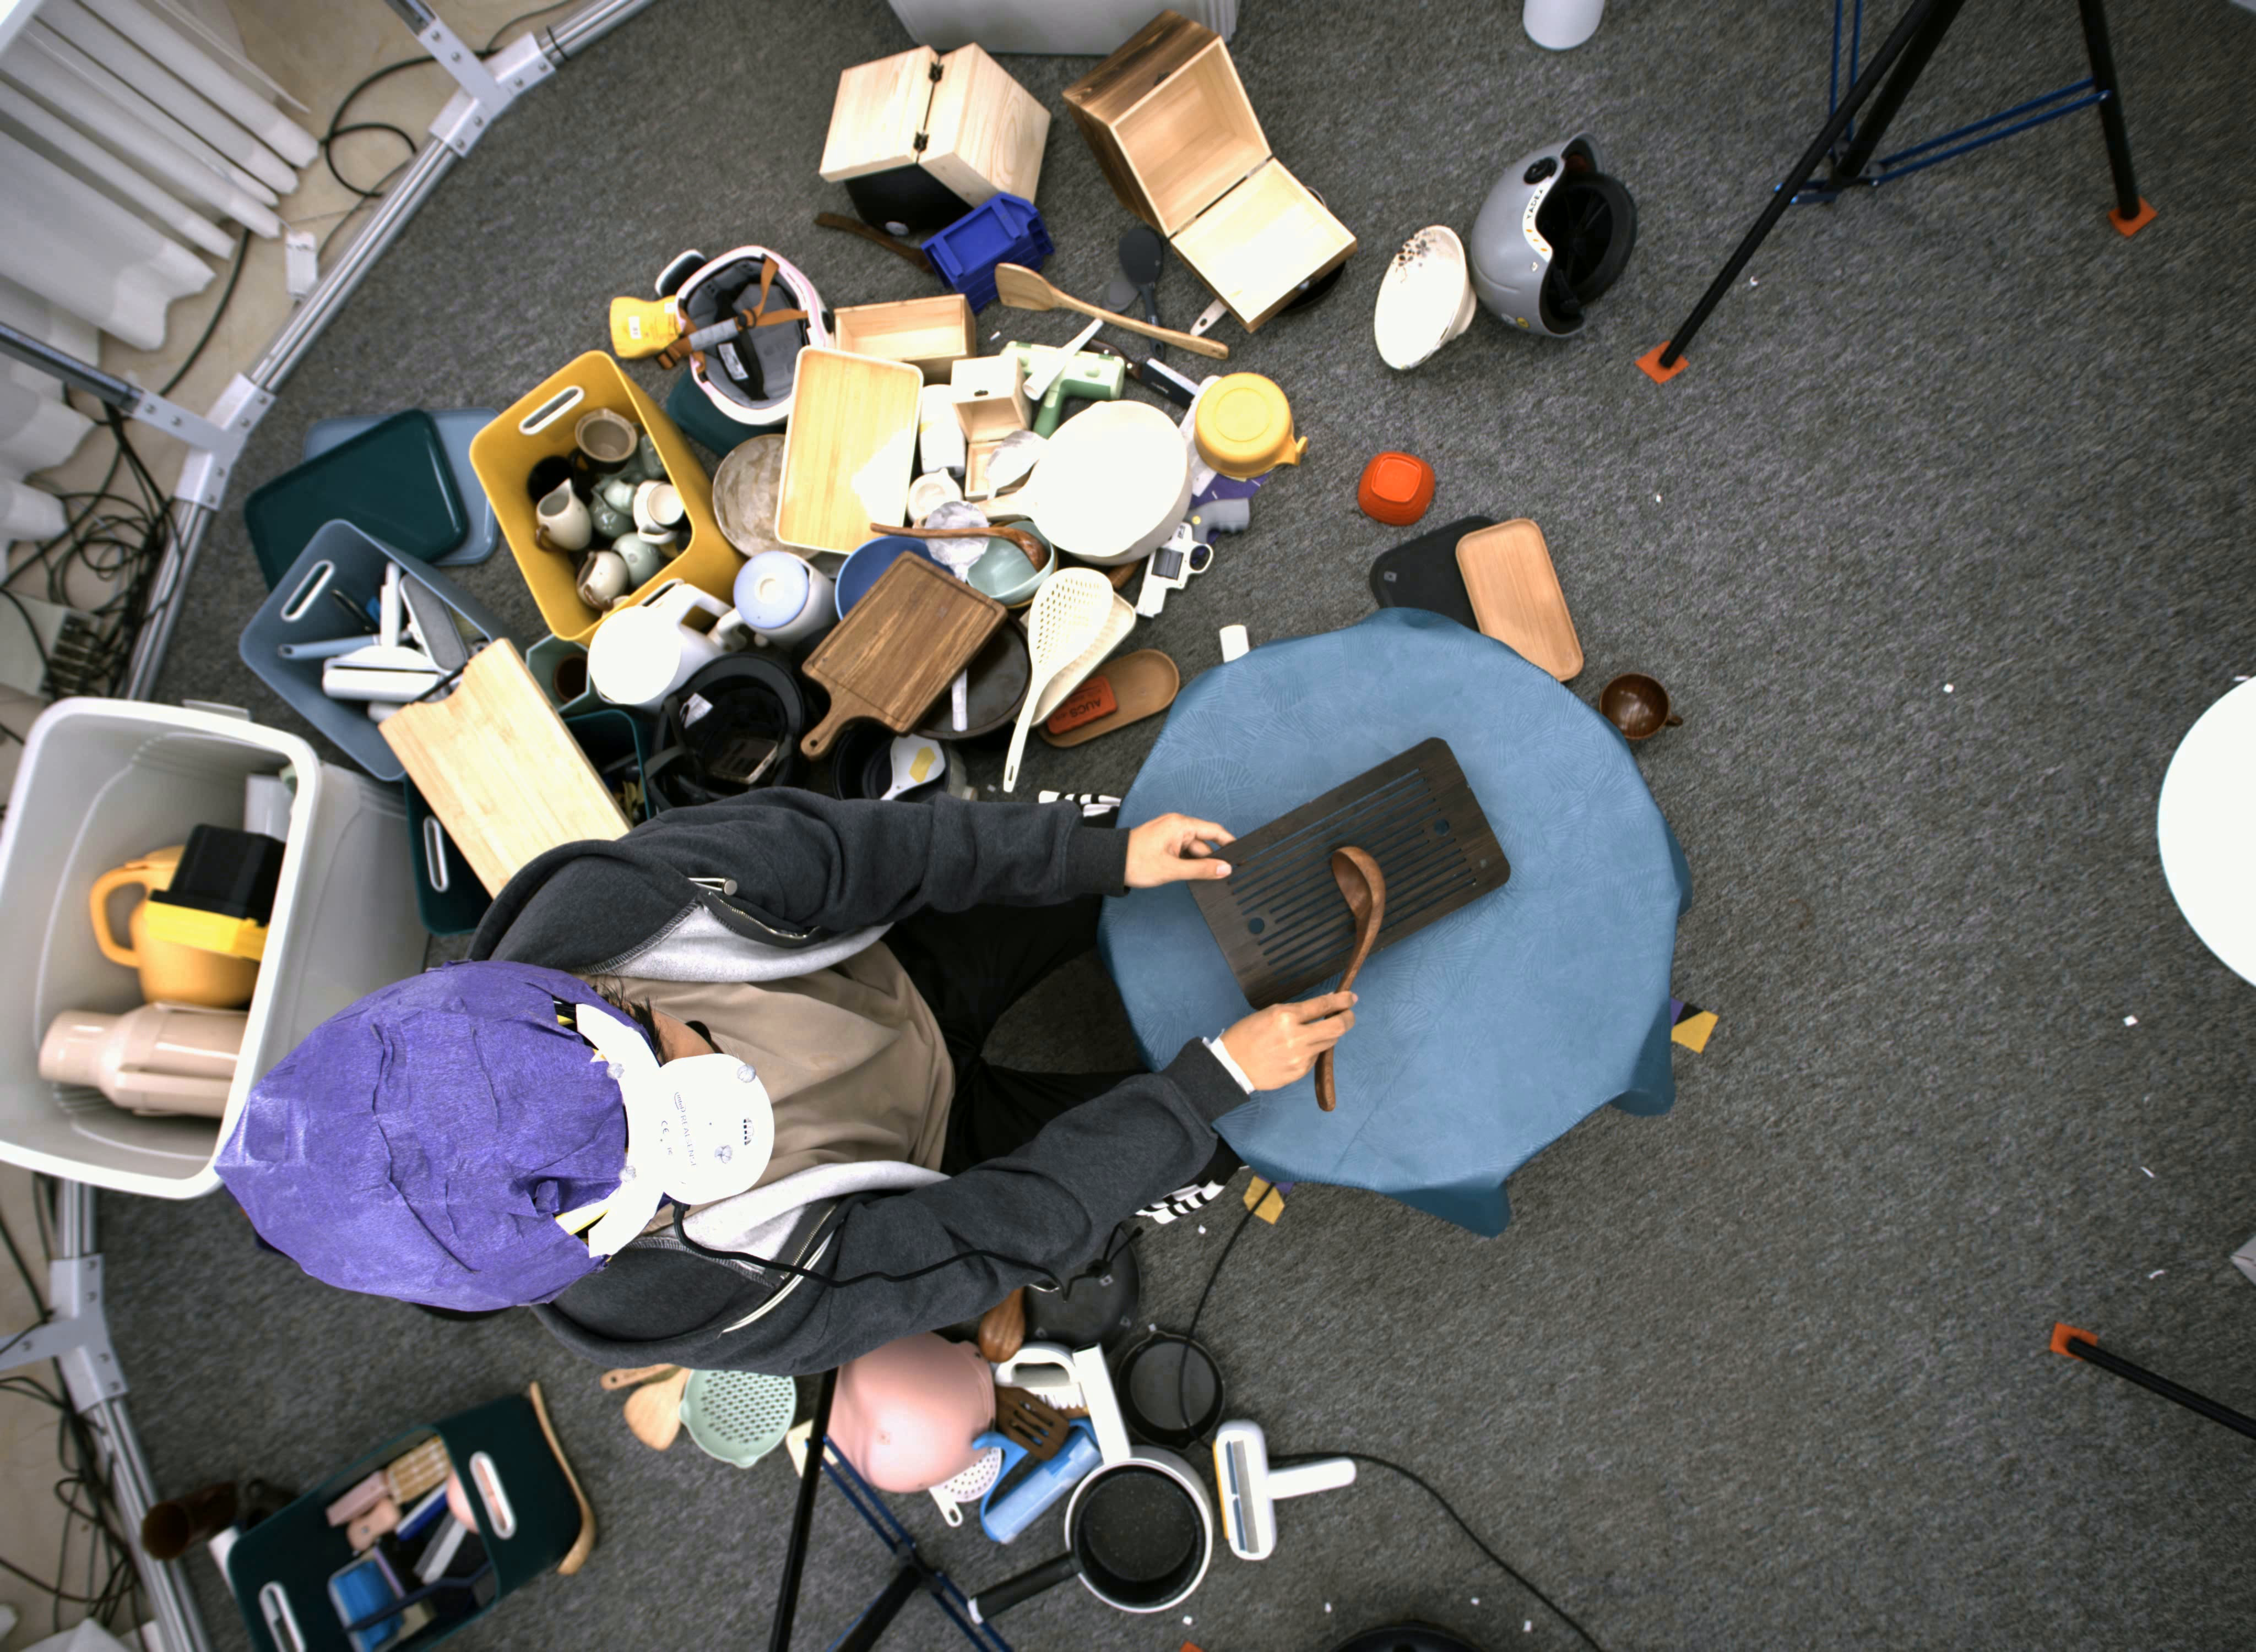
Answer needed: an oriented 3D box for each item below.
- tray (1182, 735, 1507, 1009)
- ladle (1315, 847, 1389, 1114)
[{"bbox_3d":[0.222,0.045,1.413,0.306,0.018,0.170,-28,94,0],"label":"tray"},{"bbox_3d":[0.204,0.148,1.358,0.065,0.077,0.259,17,85,-9],"label":"ladle"}]
